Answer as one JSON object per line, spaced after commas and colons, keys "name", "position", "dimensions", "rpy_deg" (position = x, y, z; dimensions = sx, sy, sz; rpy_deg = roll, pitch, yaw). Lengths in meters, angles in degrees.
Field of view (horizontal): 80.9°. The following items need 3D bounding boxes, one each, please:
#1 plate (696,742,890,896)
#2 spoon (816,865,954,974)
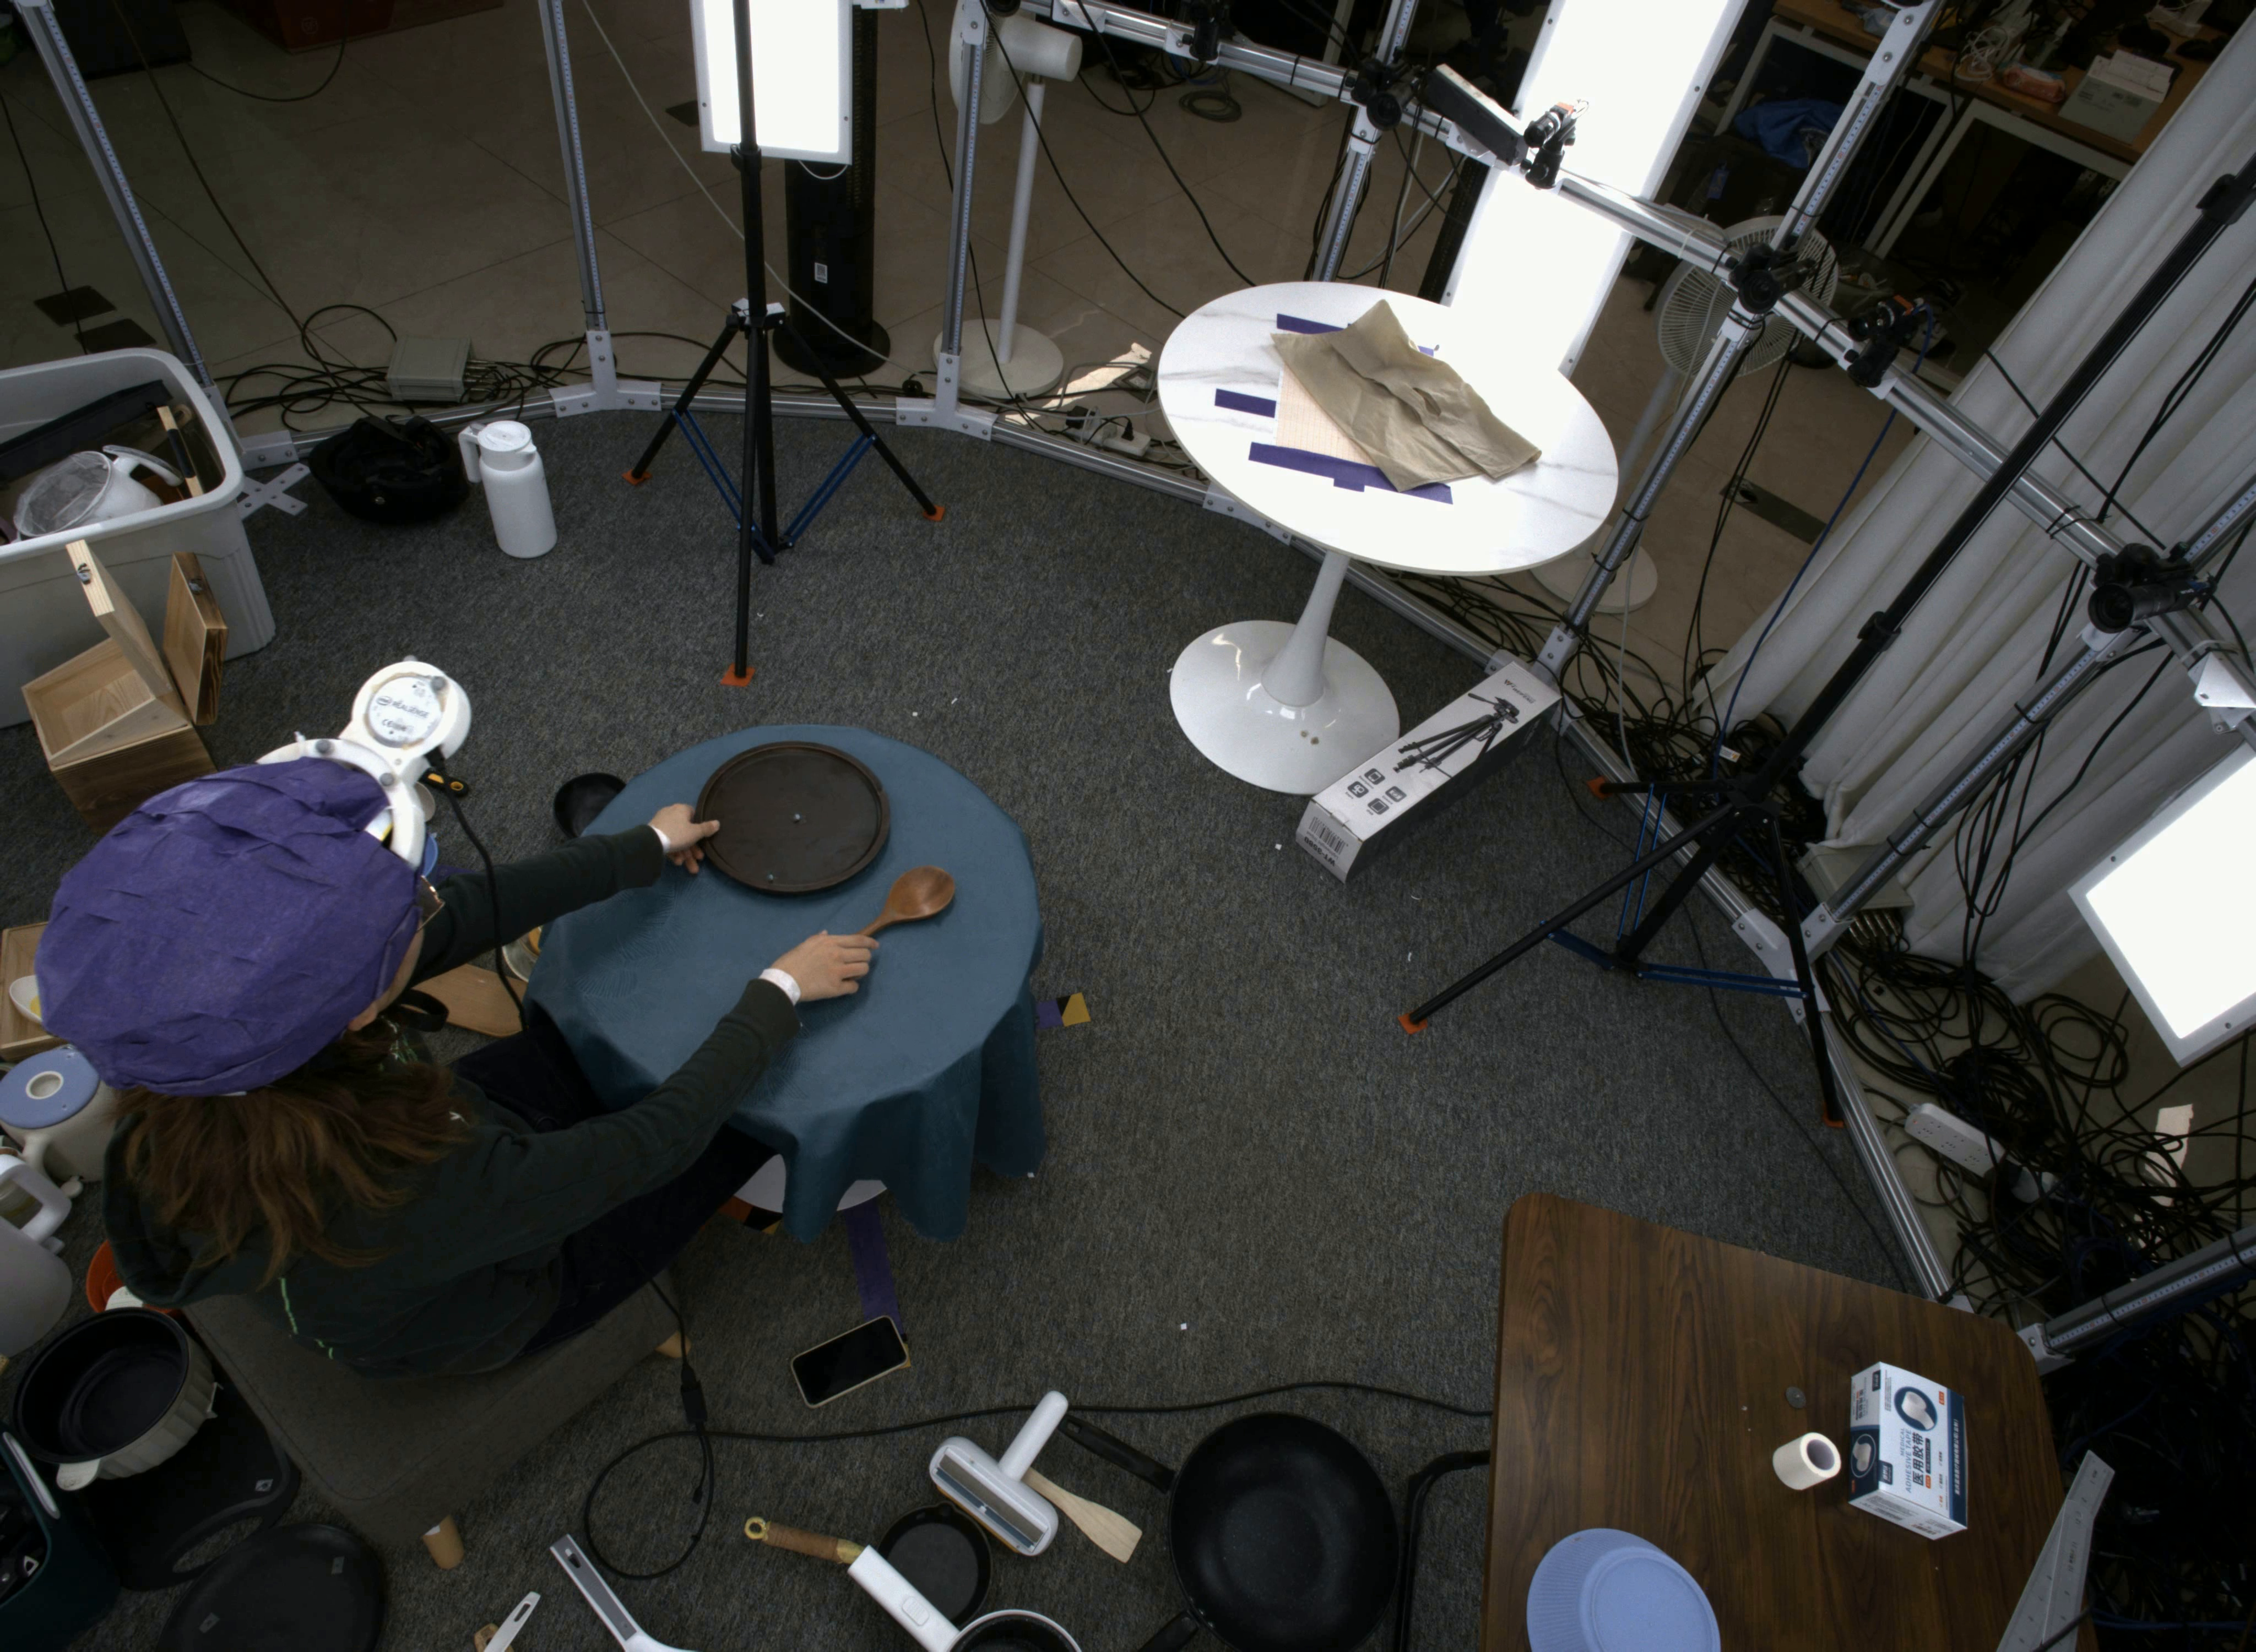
{"name": "plate", "position": [-0.443, -0.012, 1.719], "dimensions": [0.254, 0.029, 0.250], "rpy_deg": [8, 51, -8]}
{"name": "spoon", "position": [-0.311, 0.119, 1.659], "dimensions": [0.074, 0.017, 0.216], "rpy_deg": [41, 54, 16]}
